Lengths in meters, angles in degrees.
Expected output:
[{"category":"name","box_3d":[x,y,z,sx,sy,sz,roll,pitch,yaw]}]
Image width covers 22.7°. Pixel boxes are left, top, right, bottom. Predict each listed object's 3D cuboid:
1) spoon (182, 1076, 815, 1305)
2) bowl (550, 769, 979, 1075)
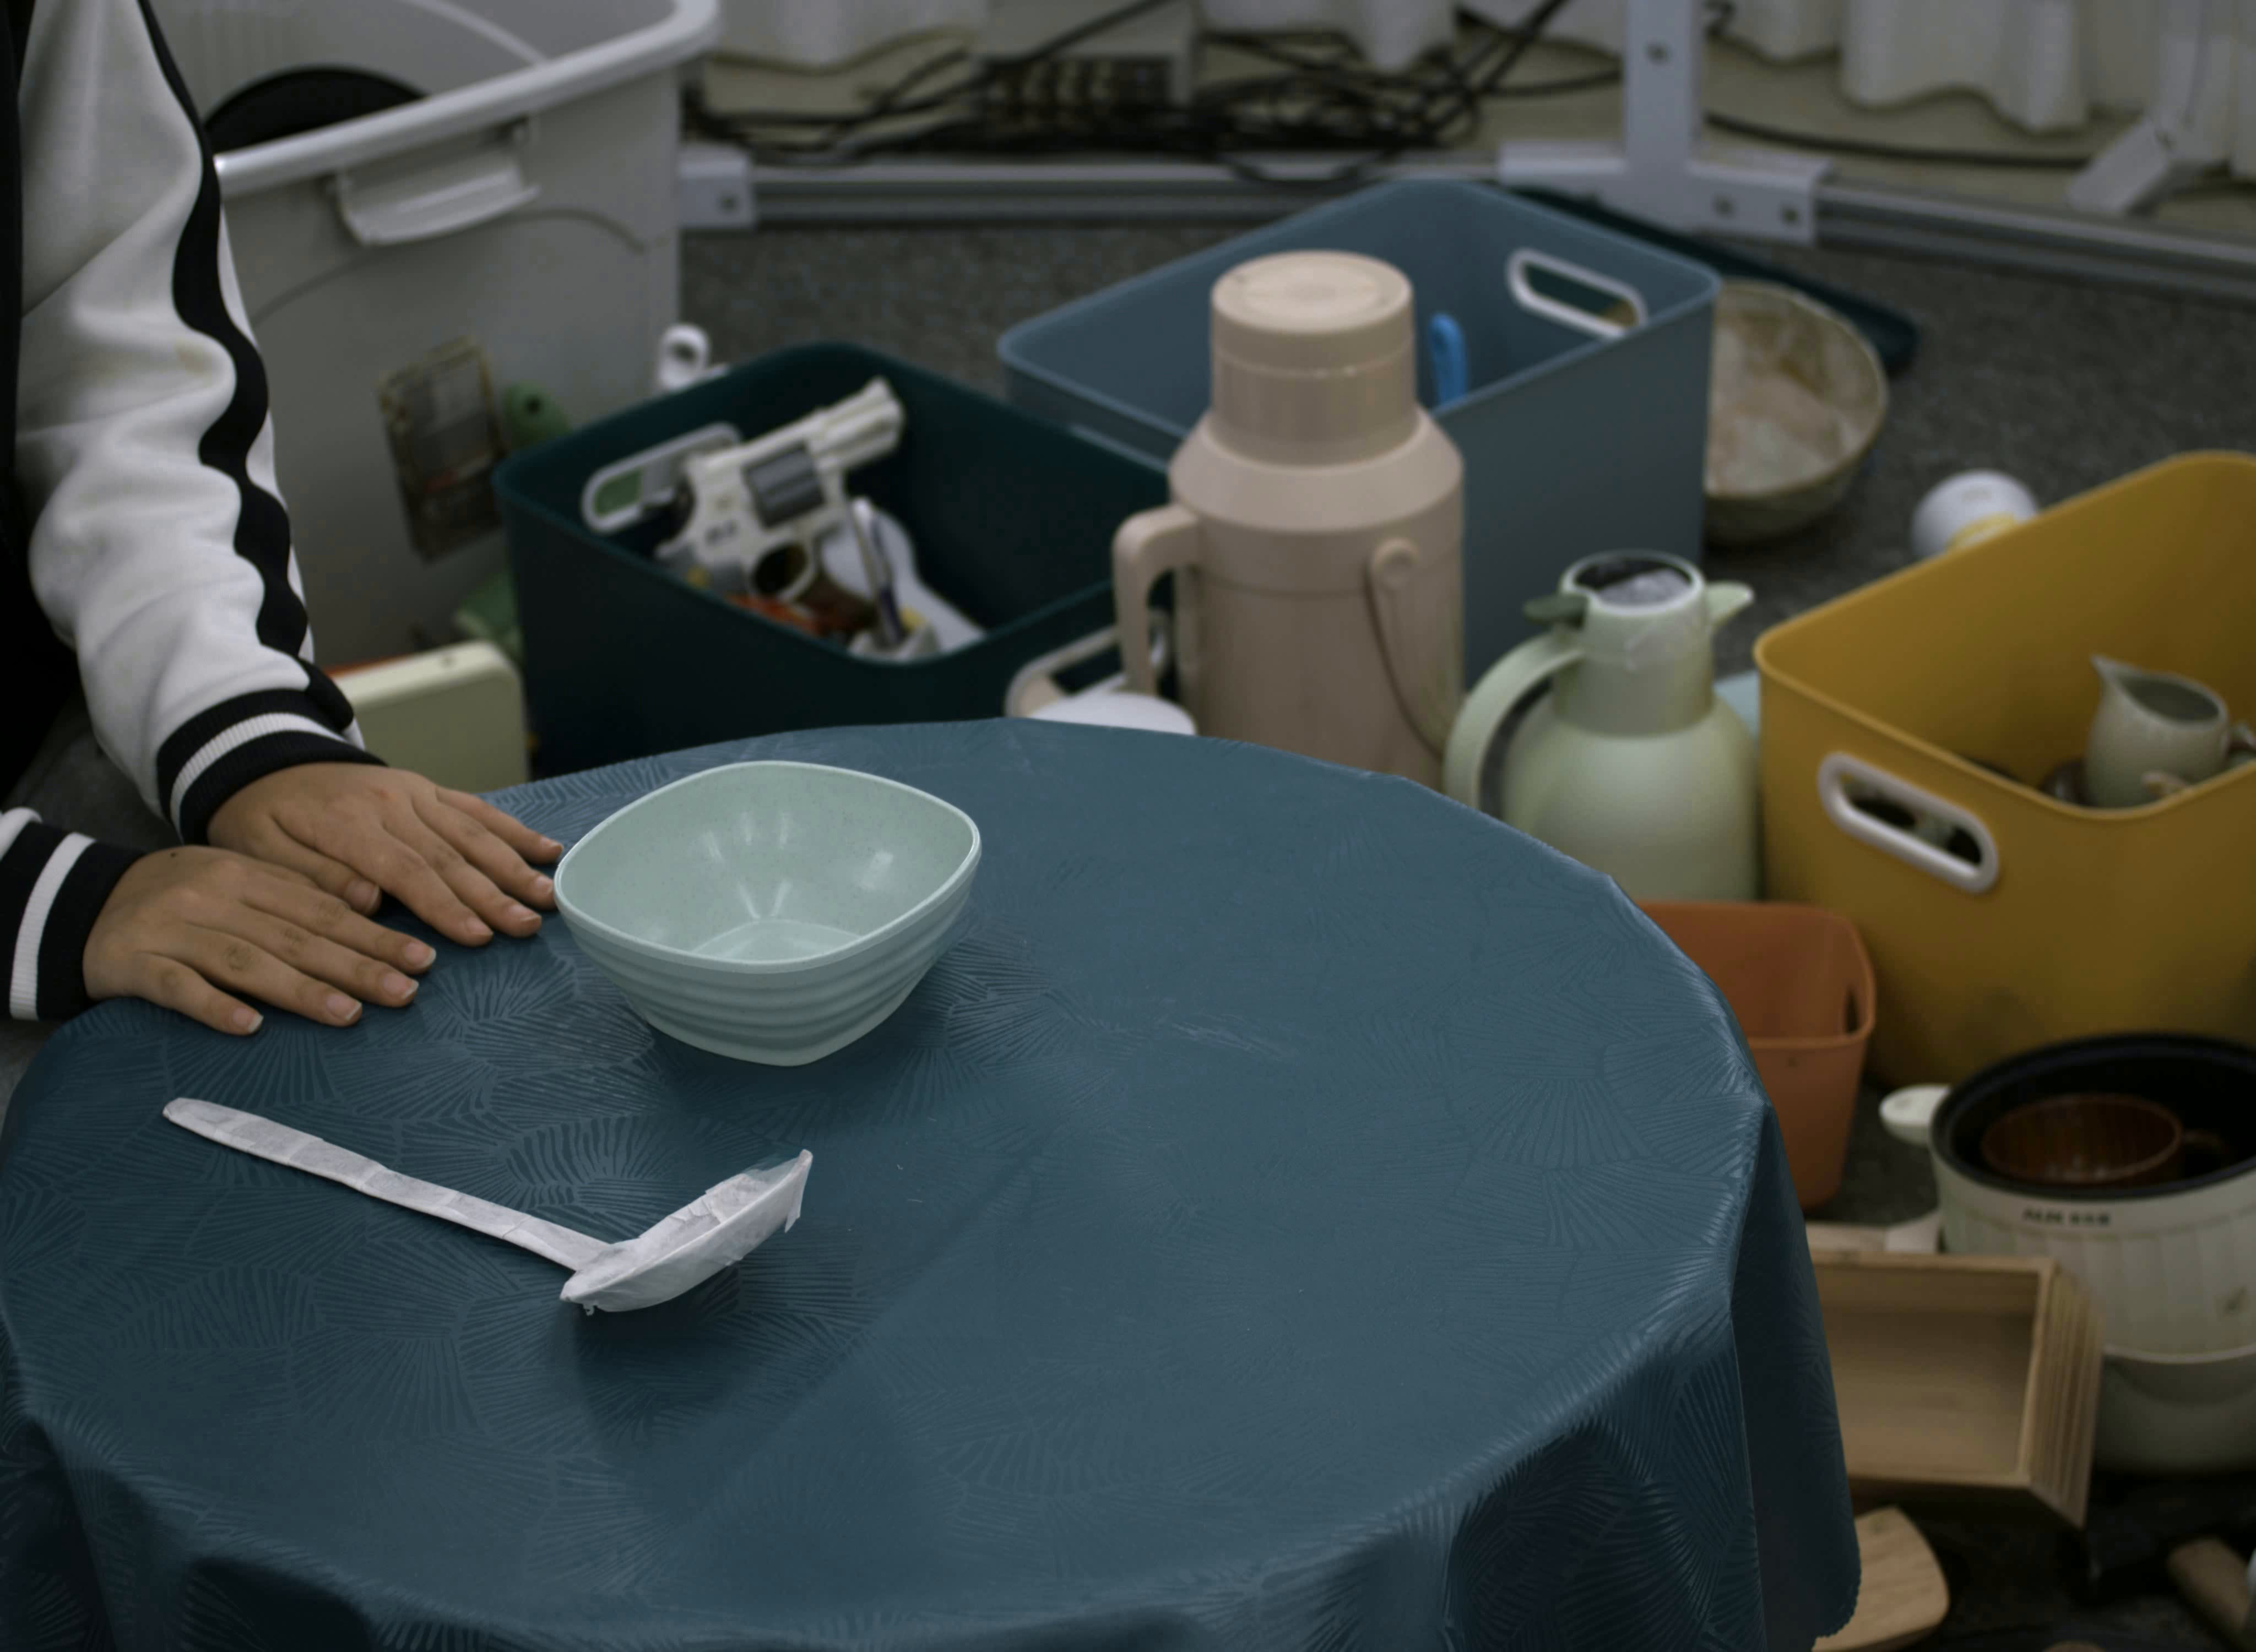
[{"category":"spoon","box_3d":[-0.216,0.102,1.860,0.276,0.059,0.102,19,29,36]},{"category":"bowl","box_3d":[-0.126,0.039,1.978,0.151,0.058,0.154,-2,27,1]}]
